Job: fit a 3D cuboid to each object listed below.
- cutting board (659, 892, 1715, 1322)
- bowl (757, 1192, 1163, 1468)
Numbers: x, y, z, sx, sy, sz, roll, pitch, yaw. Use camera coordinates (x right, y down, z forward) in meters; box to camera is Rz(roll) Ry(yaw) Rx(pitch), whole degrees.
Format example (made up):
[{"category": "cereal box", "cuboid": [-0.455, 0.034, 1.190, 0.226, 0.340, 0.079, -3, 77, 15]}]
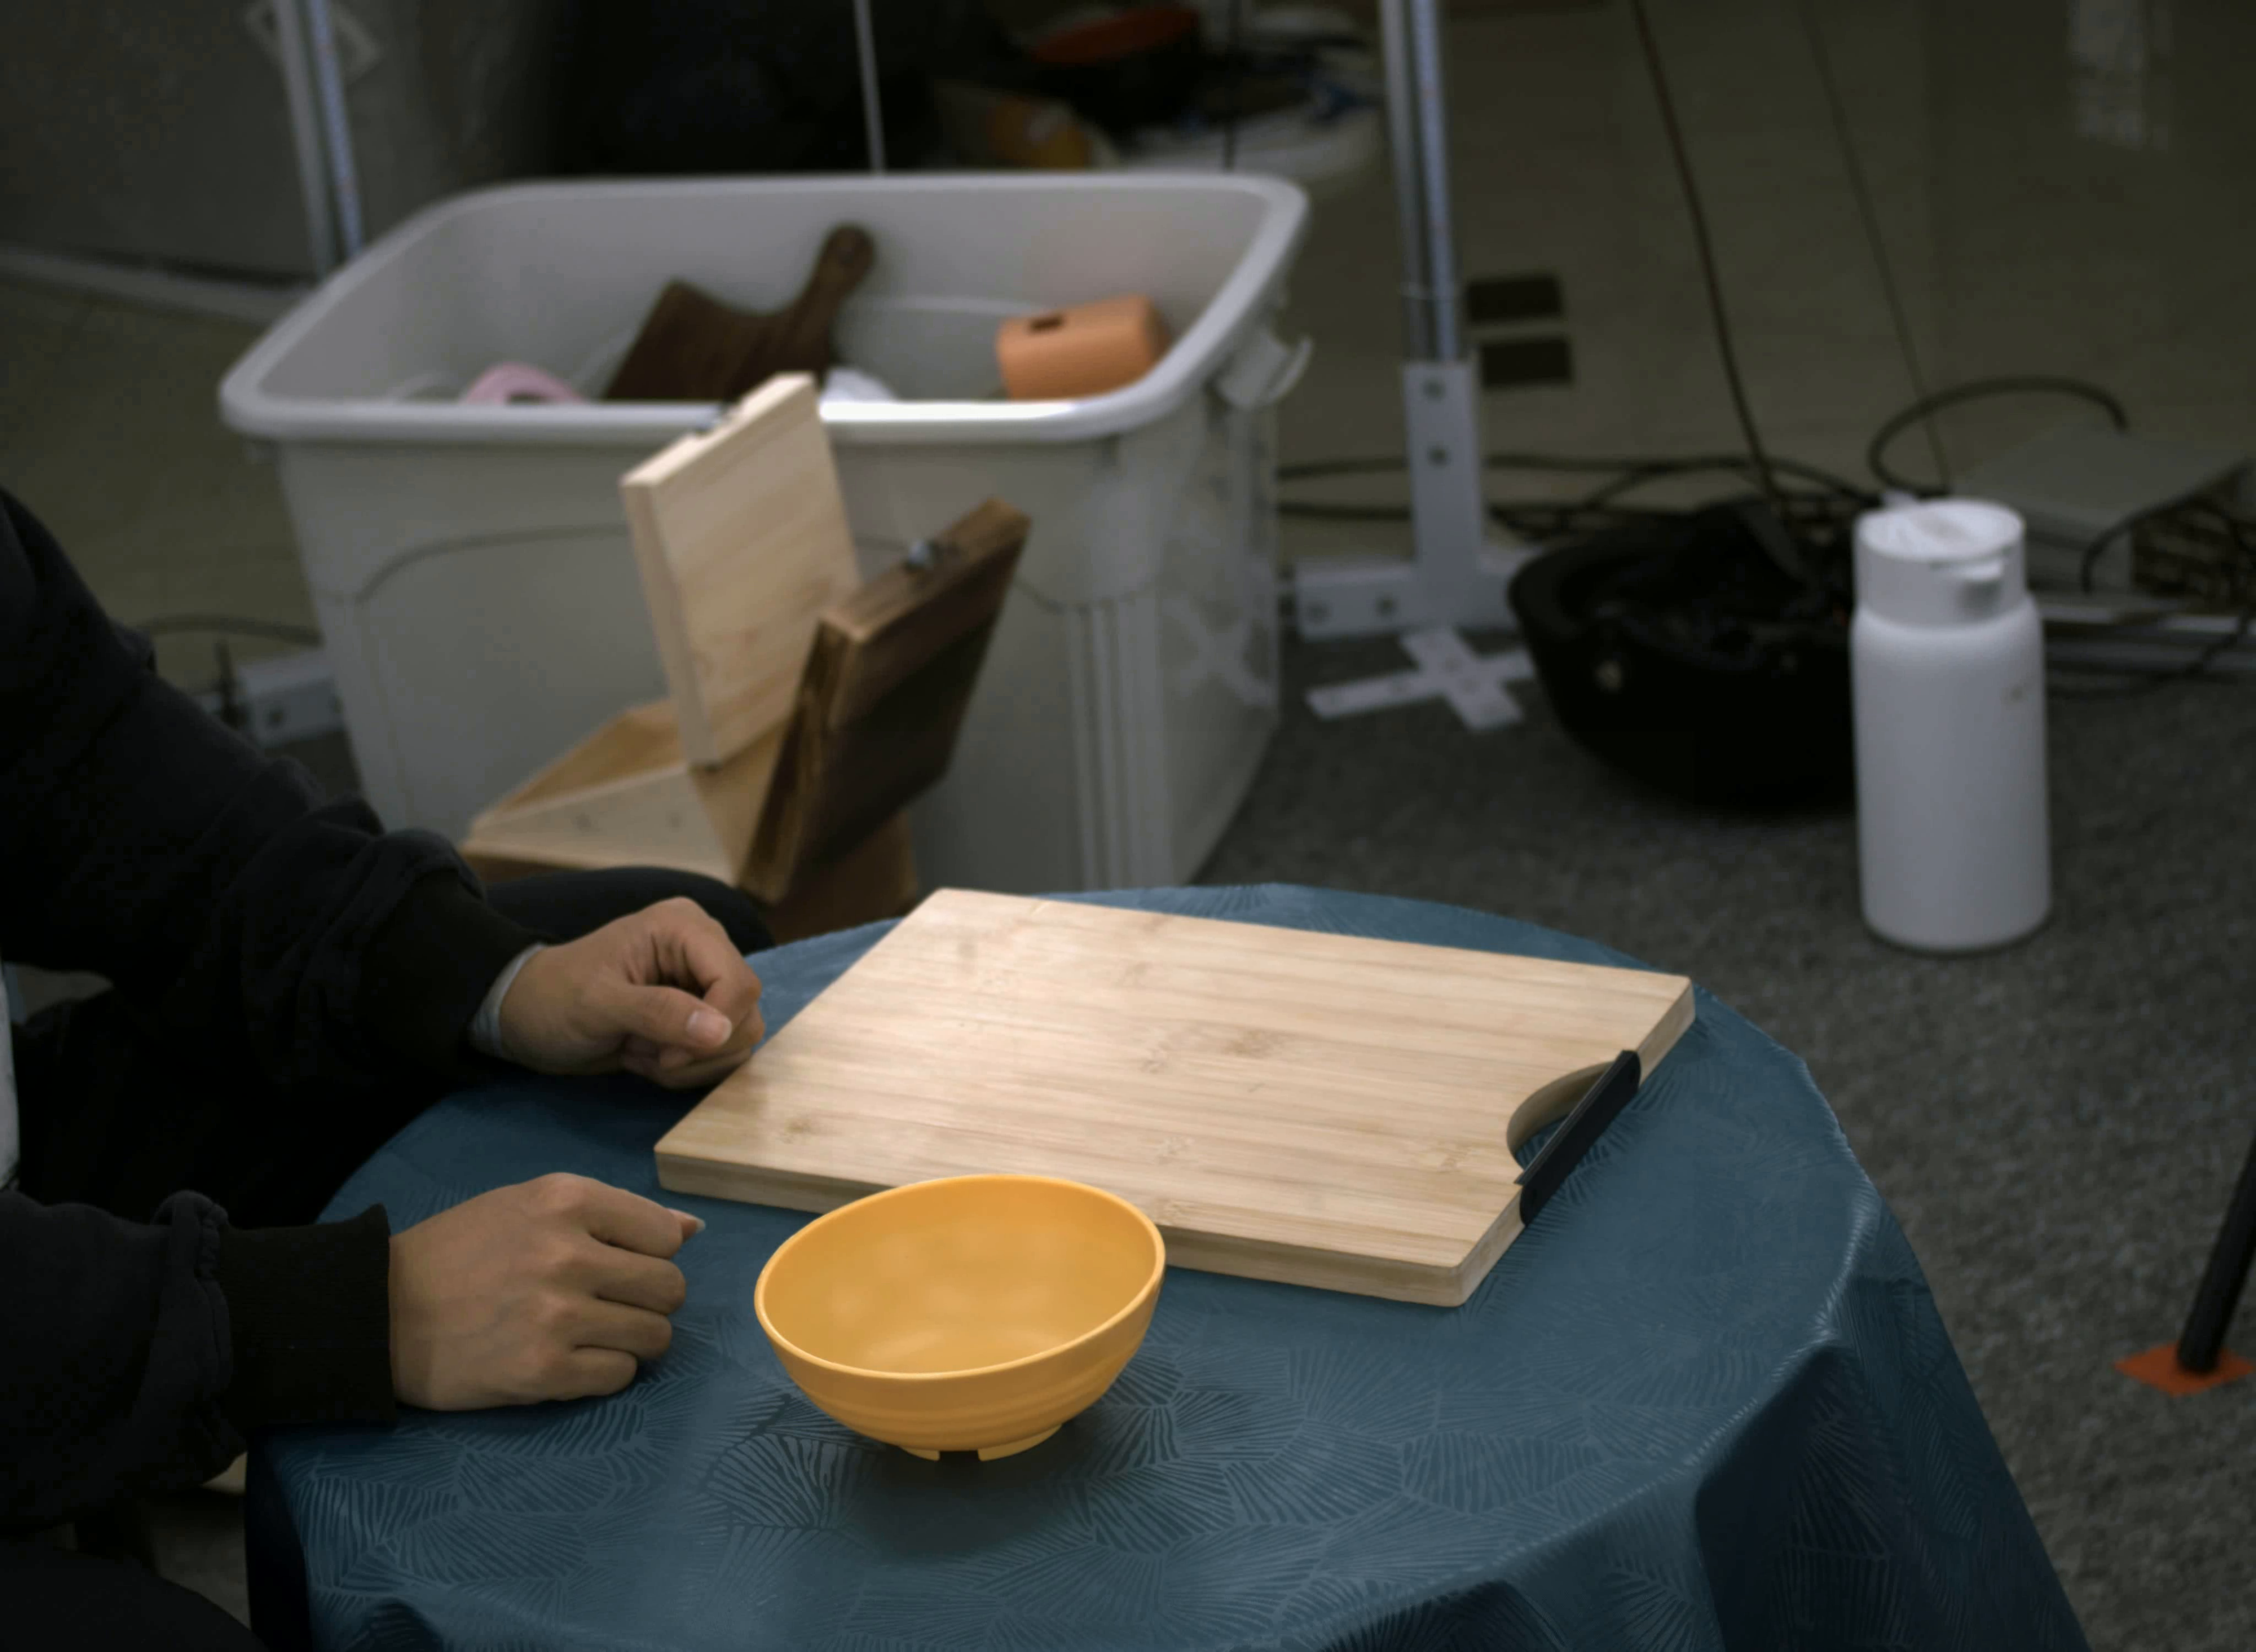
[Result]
[{"category": "cutting board", "cuboid": [0.025, 0.103, 2.206, 0.347, 0.024, 0.247, 6, 28, 25]}, {"category": "bowl", "cuboid": [-0.056, 0.185, 2.001, 0.145, 0.061, 0.143, -5, 22, 2]}]
